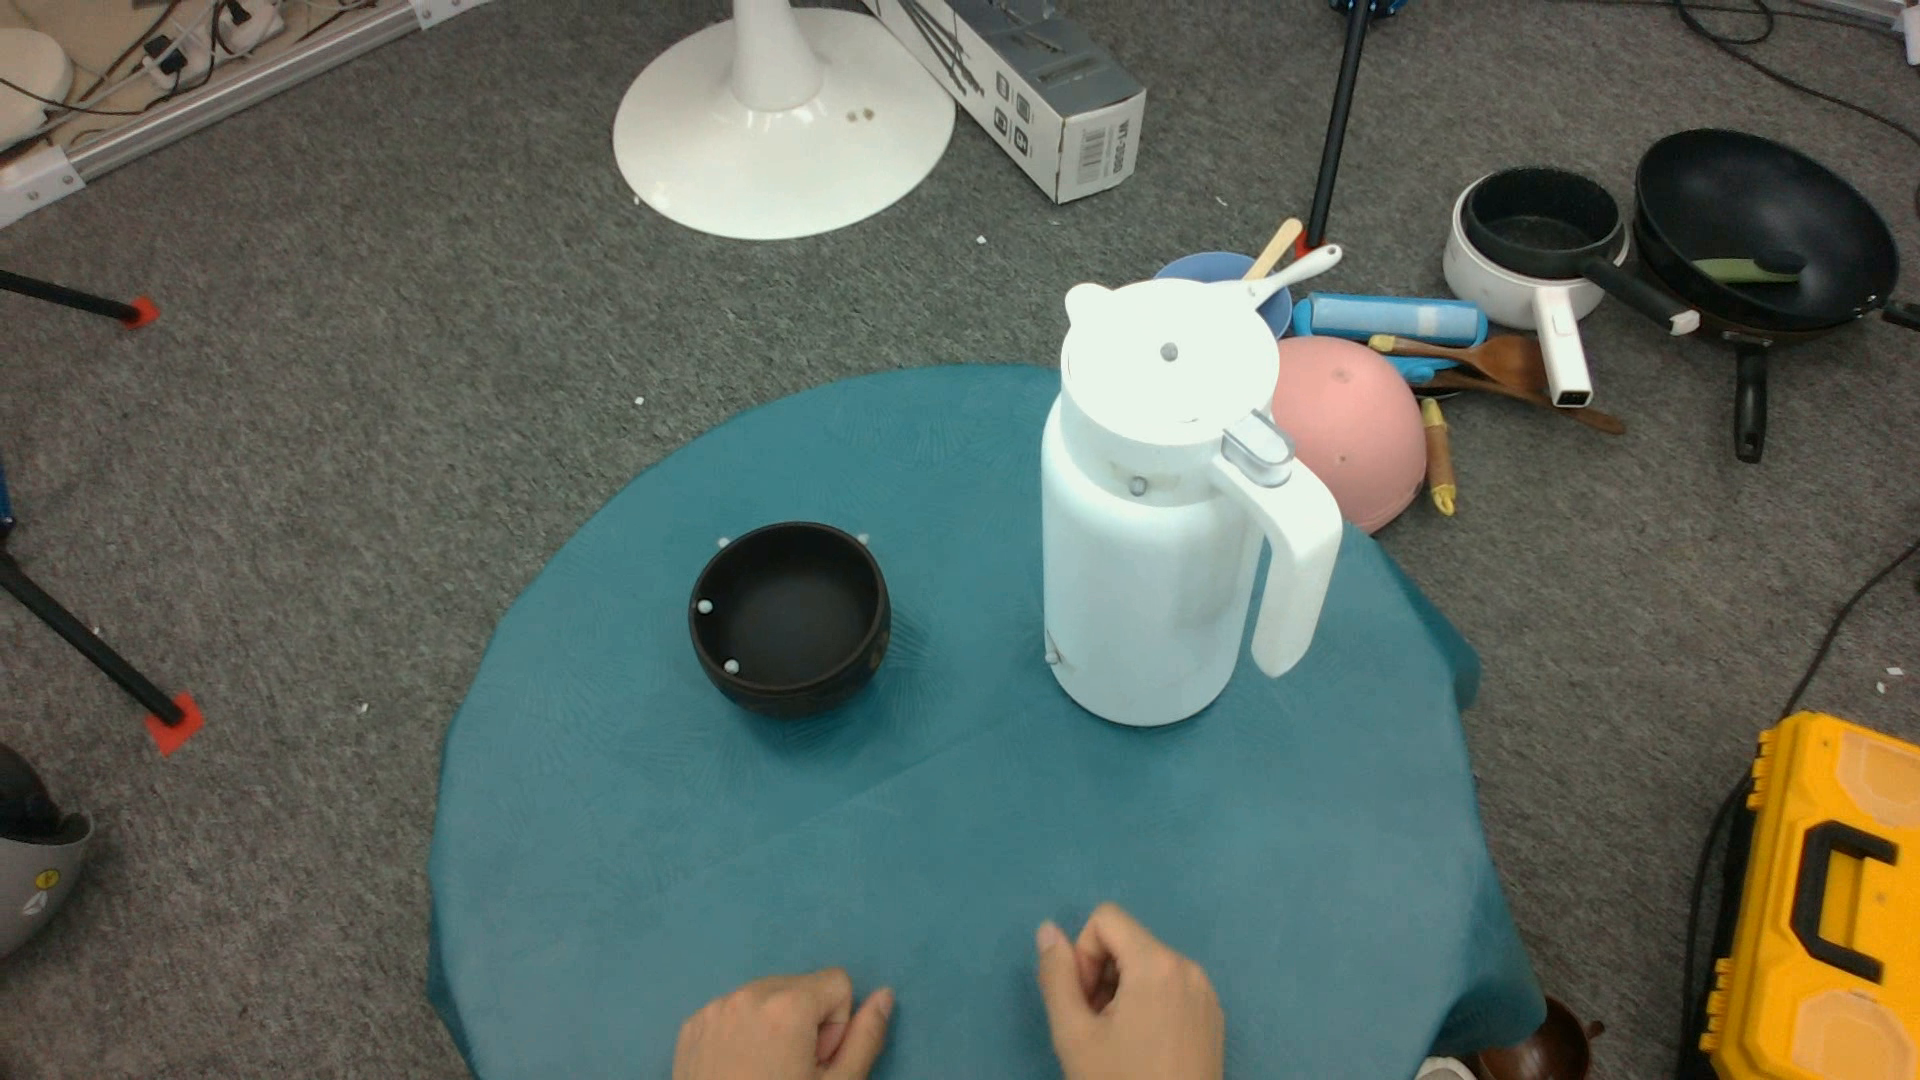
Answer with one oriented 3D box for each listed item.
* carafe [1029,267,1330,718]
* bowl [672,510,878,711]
[{"bbox_3d":[0.108,-0.004,0.723,0.124,0.267,0.173,-34,61,-20],"label":"carafe"},{"bbox_3d":[-0.106,0.048,0.814,0.118,0.069,0.118,-1,56,2],"label":"bowl"}]
